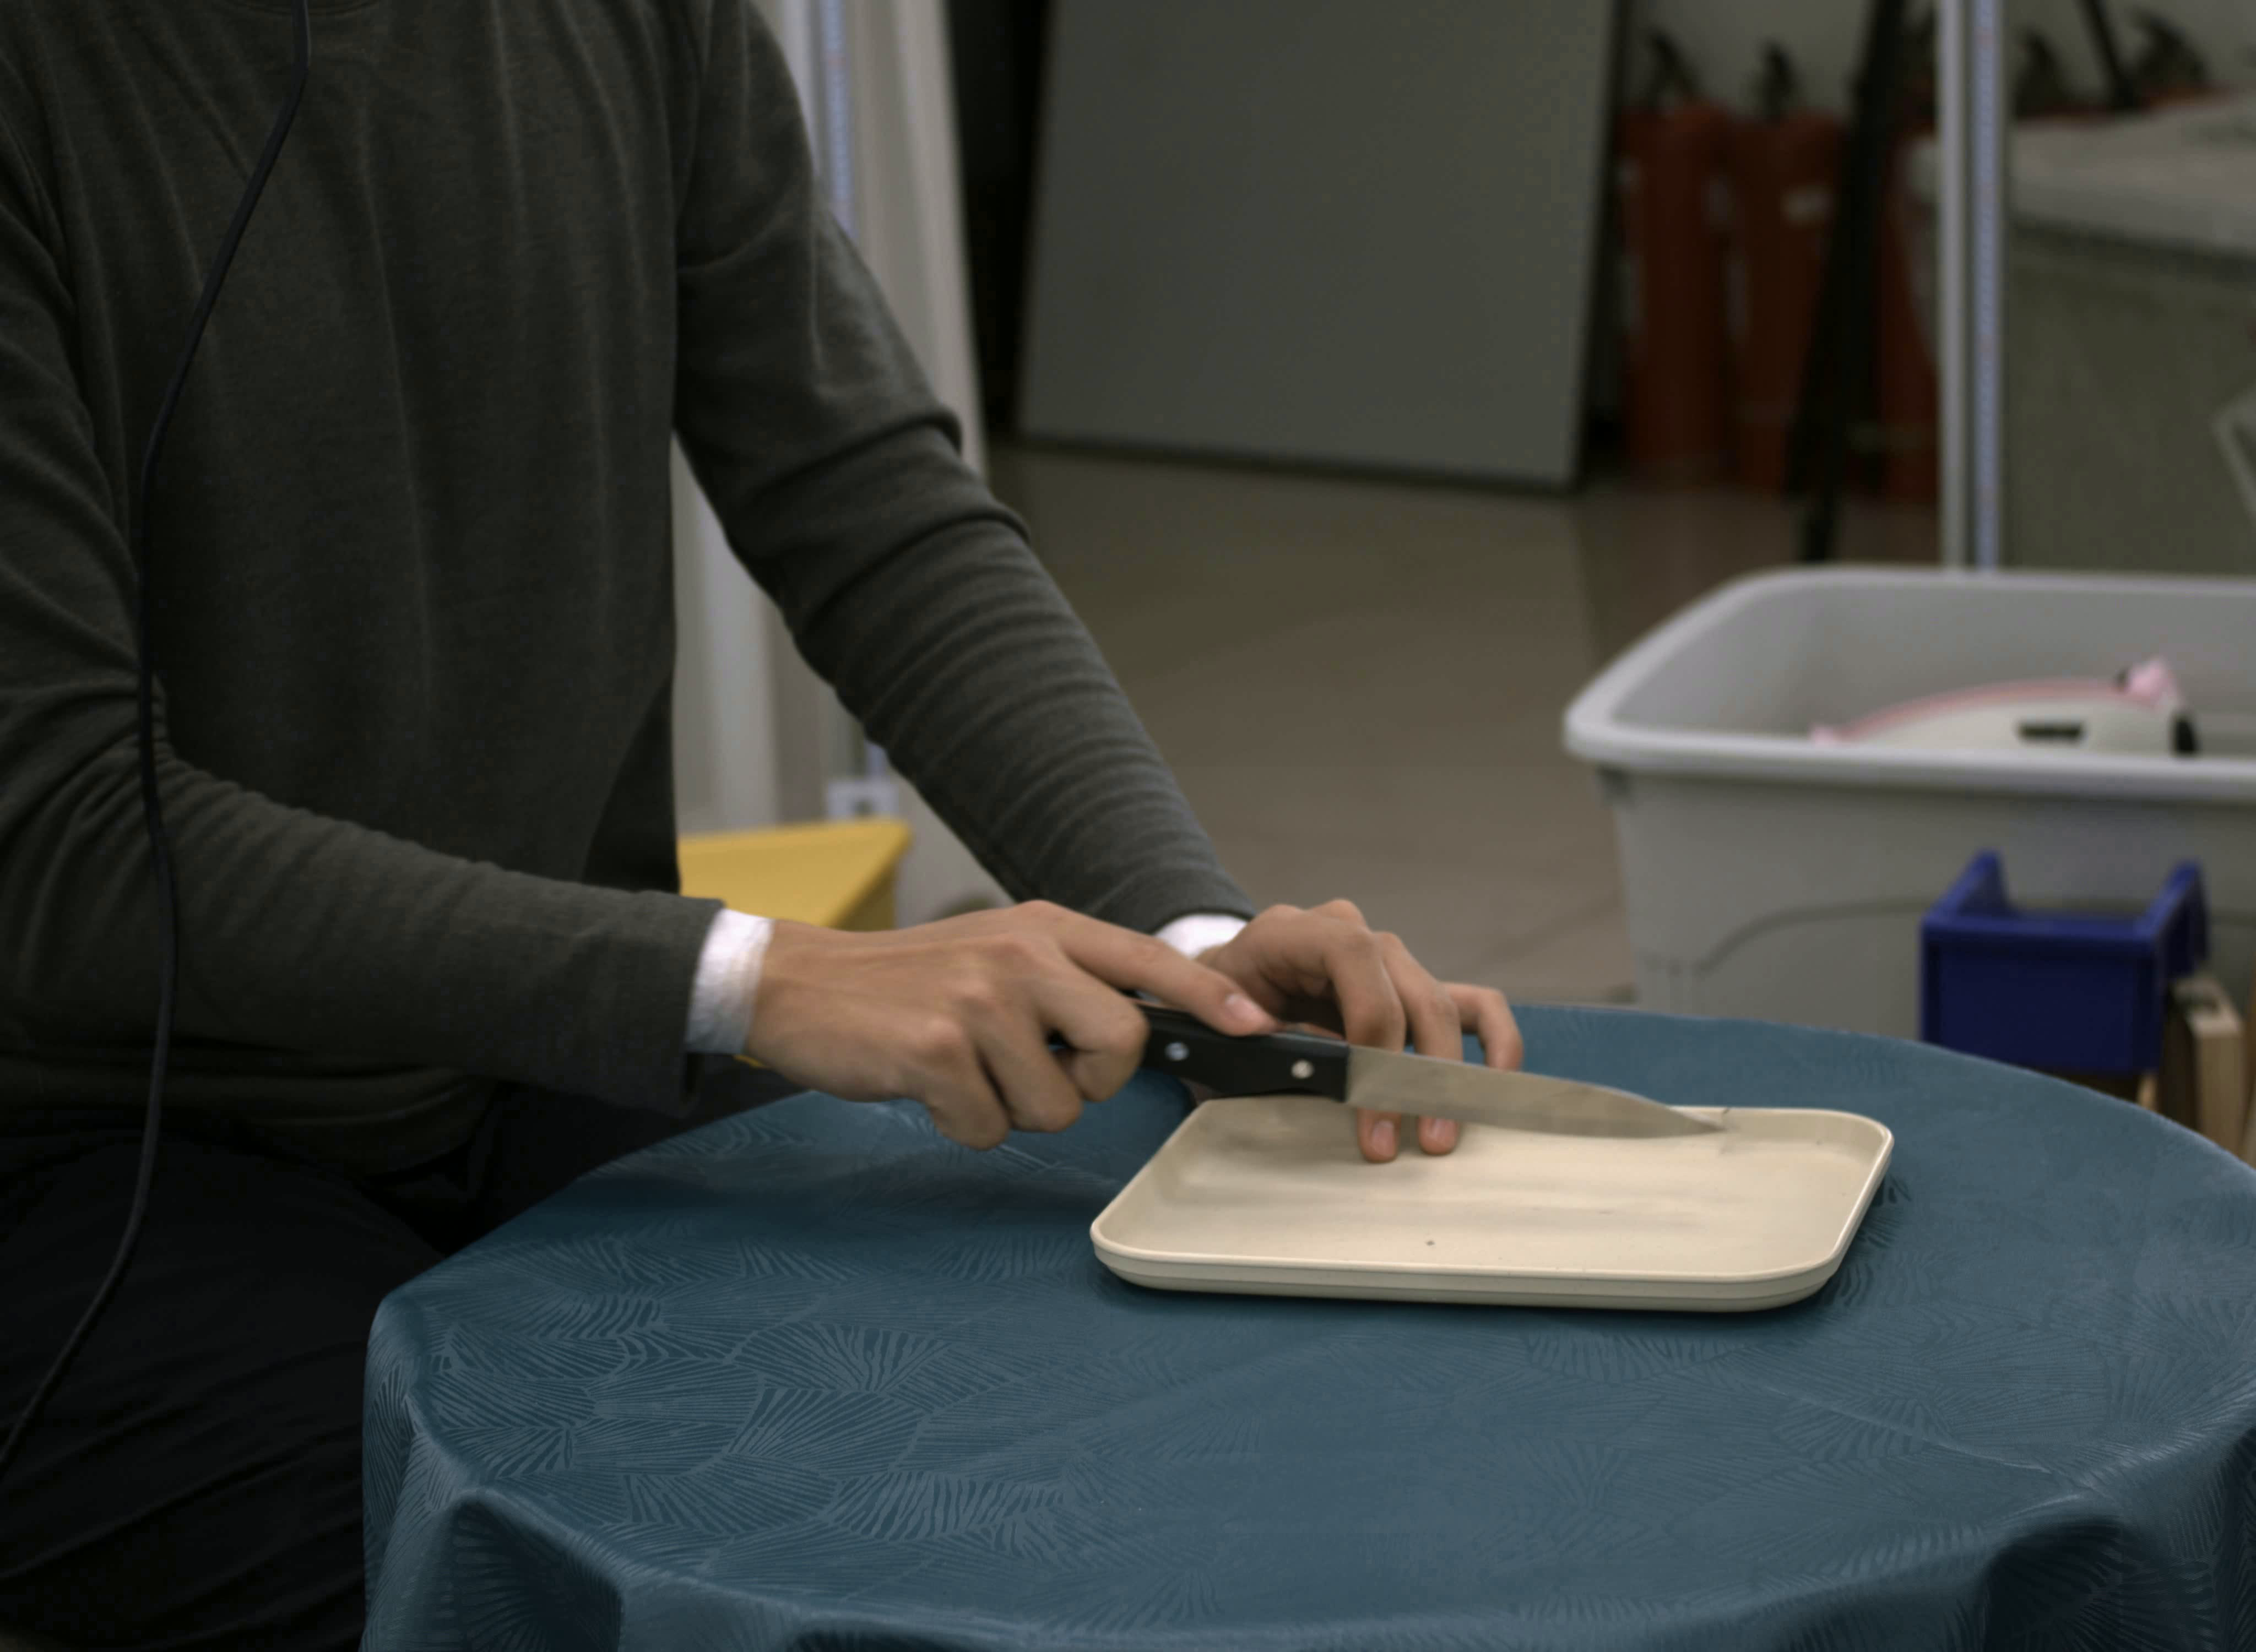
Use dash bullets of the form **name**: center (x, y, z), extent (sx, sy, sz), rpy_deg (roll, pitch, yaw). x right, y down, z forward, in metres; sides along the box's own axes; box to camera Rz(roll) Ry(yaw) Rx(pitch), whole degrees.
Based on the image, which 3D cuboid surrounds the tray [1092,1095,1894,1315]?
- **tray**: center (0.118, 0.120, 1.709), extent (0.239, 0.017, 0.170), rpy_deg (0, 15, 19)

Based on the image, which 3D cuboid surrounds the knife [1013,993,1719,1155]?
- **knife**: center (0.075, 0.080, 1.730), extent (0.237, 0.025, 0.016), rpy_deg (9, 23, 18)
